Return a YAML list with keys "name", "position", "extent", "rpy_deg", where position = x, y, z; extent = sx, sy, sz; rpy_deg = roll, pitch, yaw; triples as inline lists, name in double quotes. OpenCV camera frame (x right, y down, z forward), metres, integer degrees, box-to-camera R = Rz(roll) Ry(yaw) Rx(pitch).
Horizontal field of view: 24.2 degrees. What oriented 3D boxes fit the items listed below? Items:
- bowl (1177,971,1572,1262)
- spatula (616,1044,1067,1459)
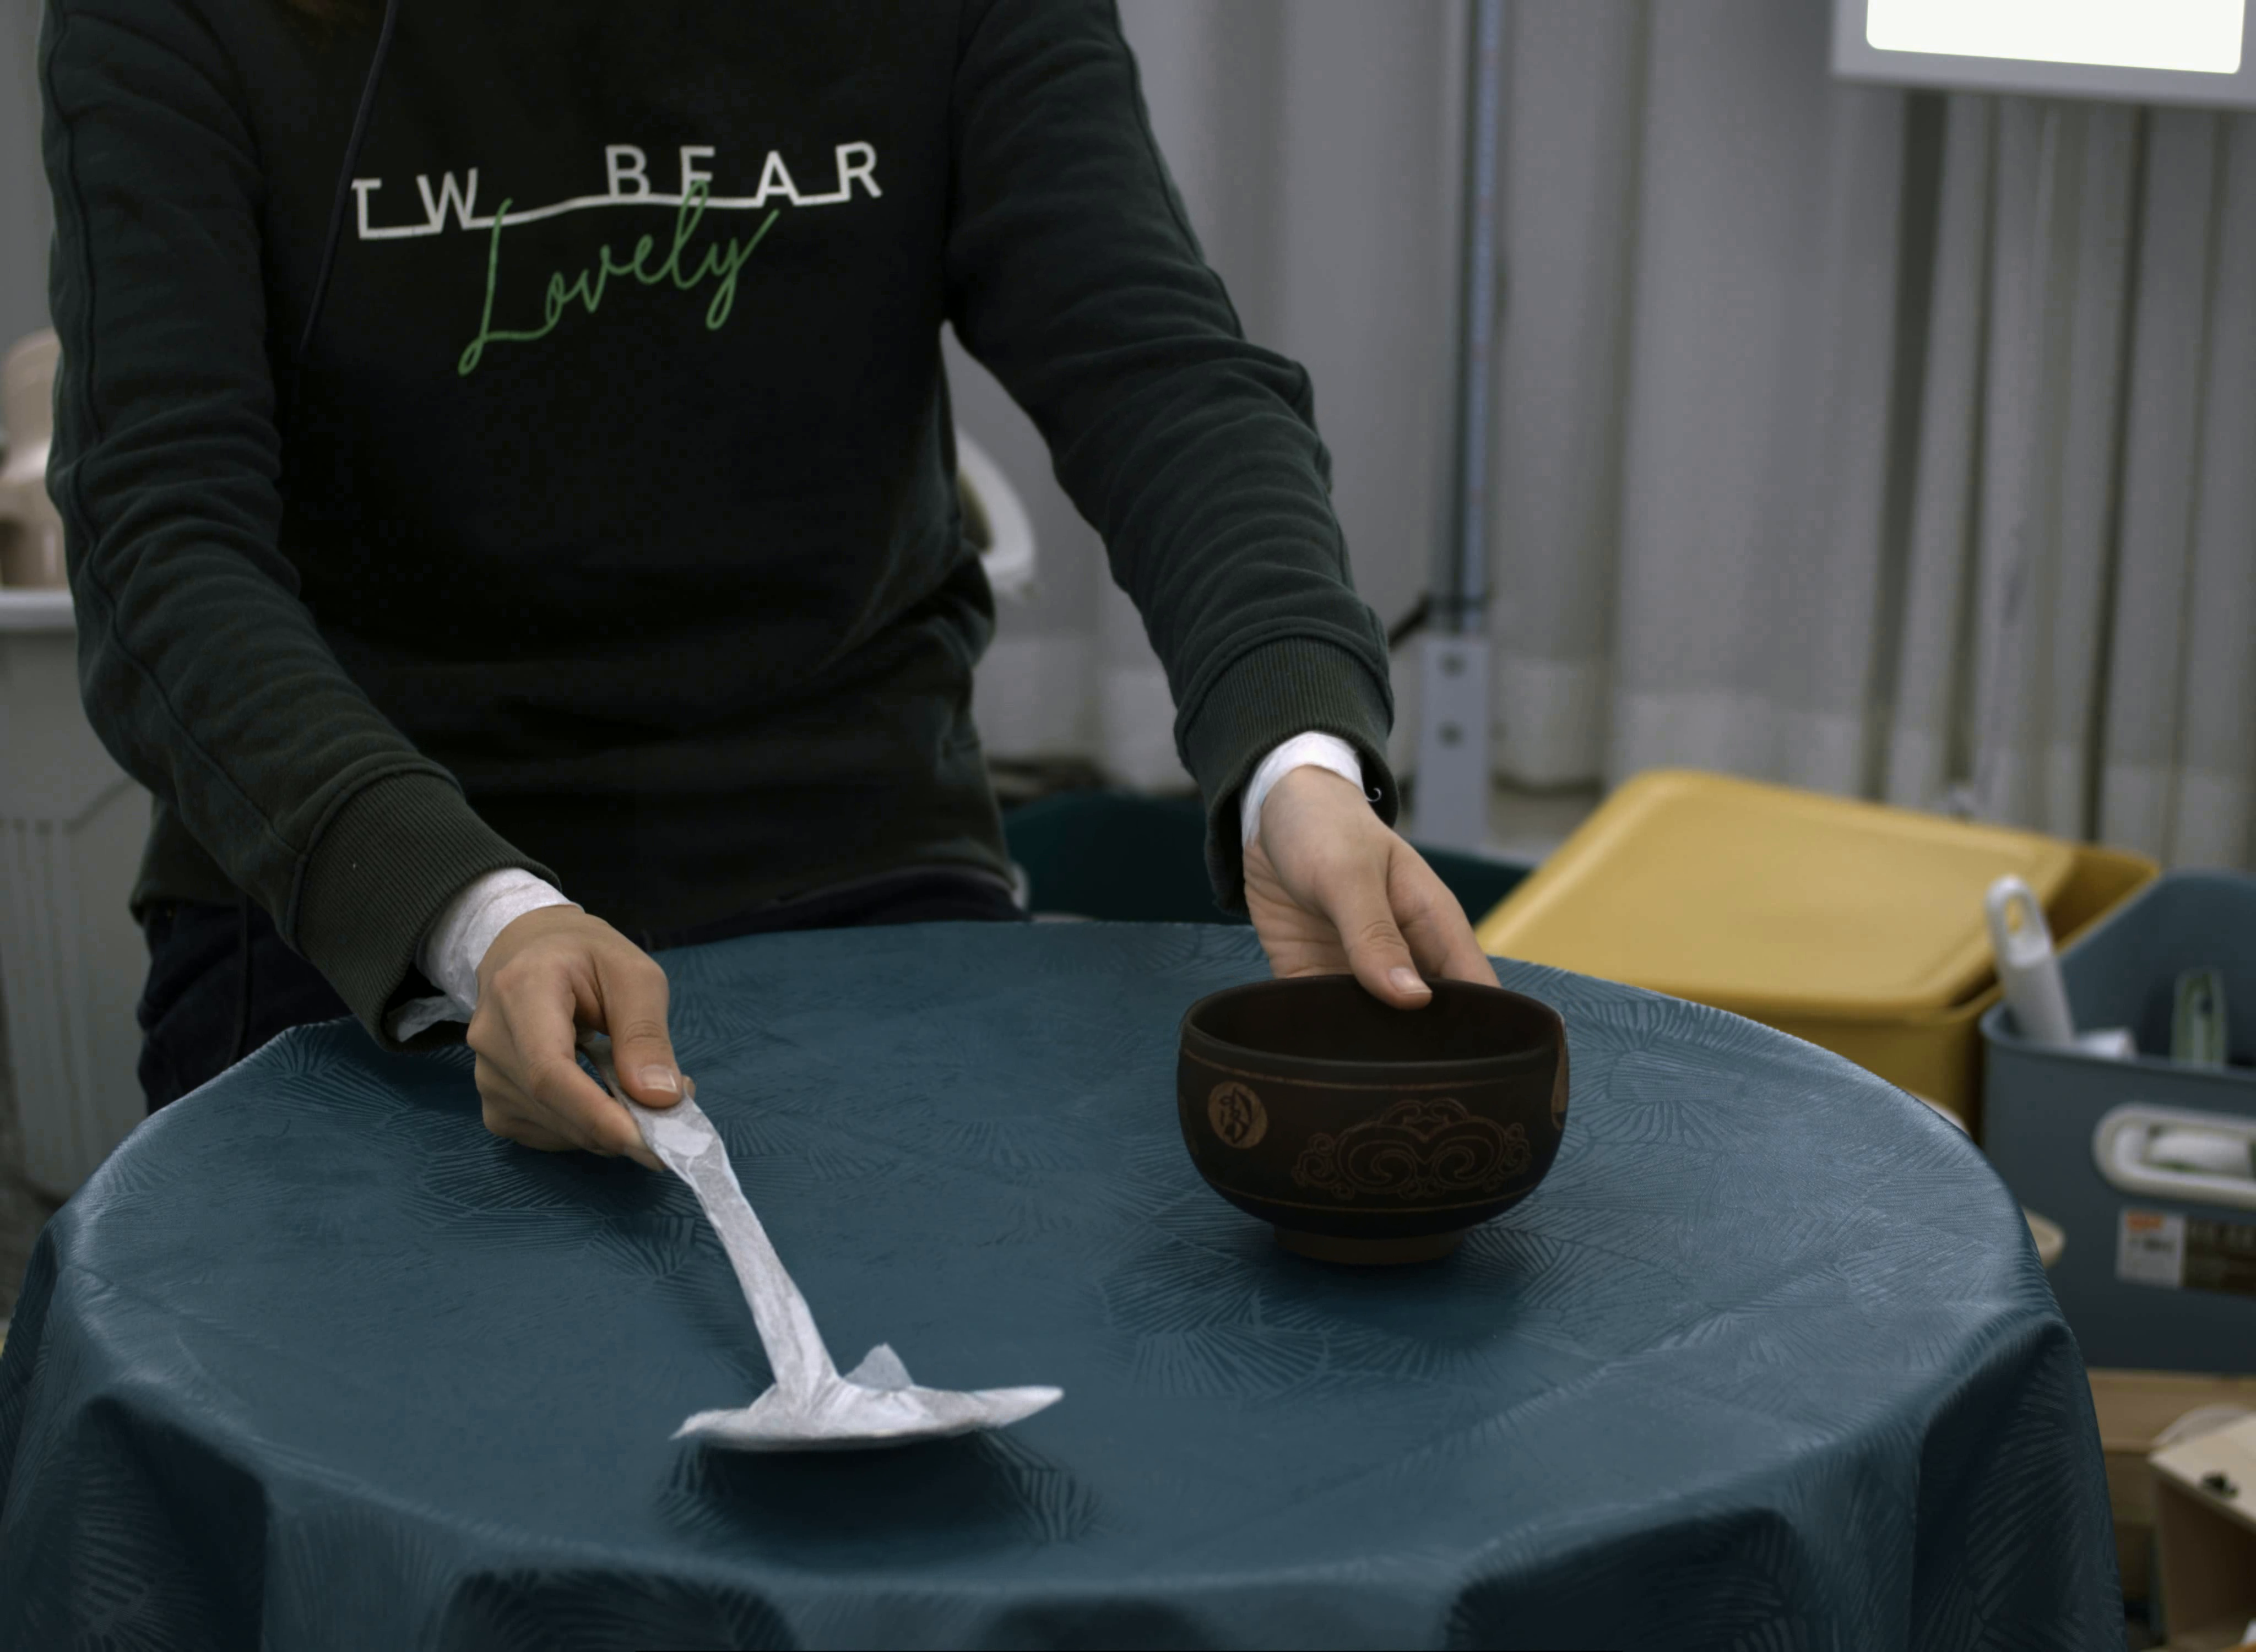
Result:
- name: "bowl"
  position: [0.073, 0.089, 1.571]
  extent: [0.117, 0.070, 0.117]
  rpy_deg: [2, 11, 0]
- name: "spatula"
  position: [-0.108, 0.114, 1.518]
  extent: [0.099, 0.045, 0.361]
  rpy_deg: [-6, 21, -16]
